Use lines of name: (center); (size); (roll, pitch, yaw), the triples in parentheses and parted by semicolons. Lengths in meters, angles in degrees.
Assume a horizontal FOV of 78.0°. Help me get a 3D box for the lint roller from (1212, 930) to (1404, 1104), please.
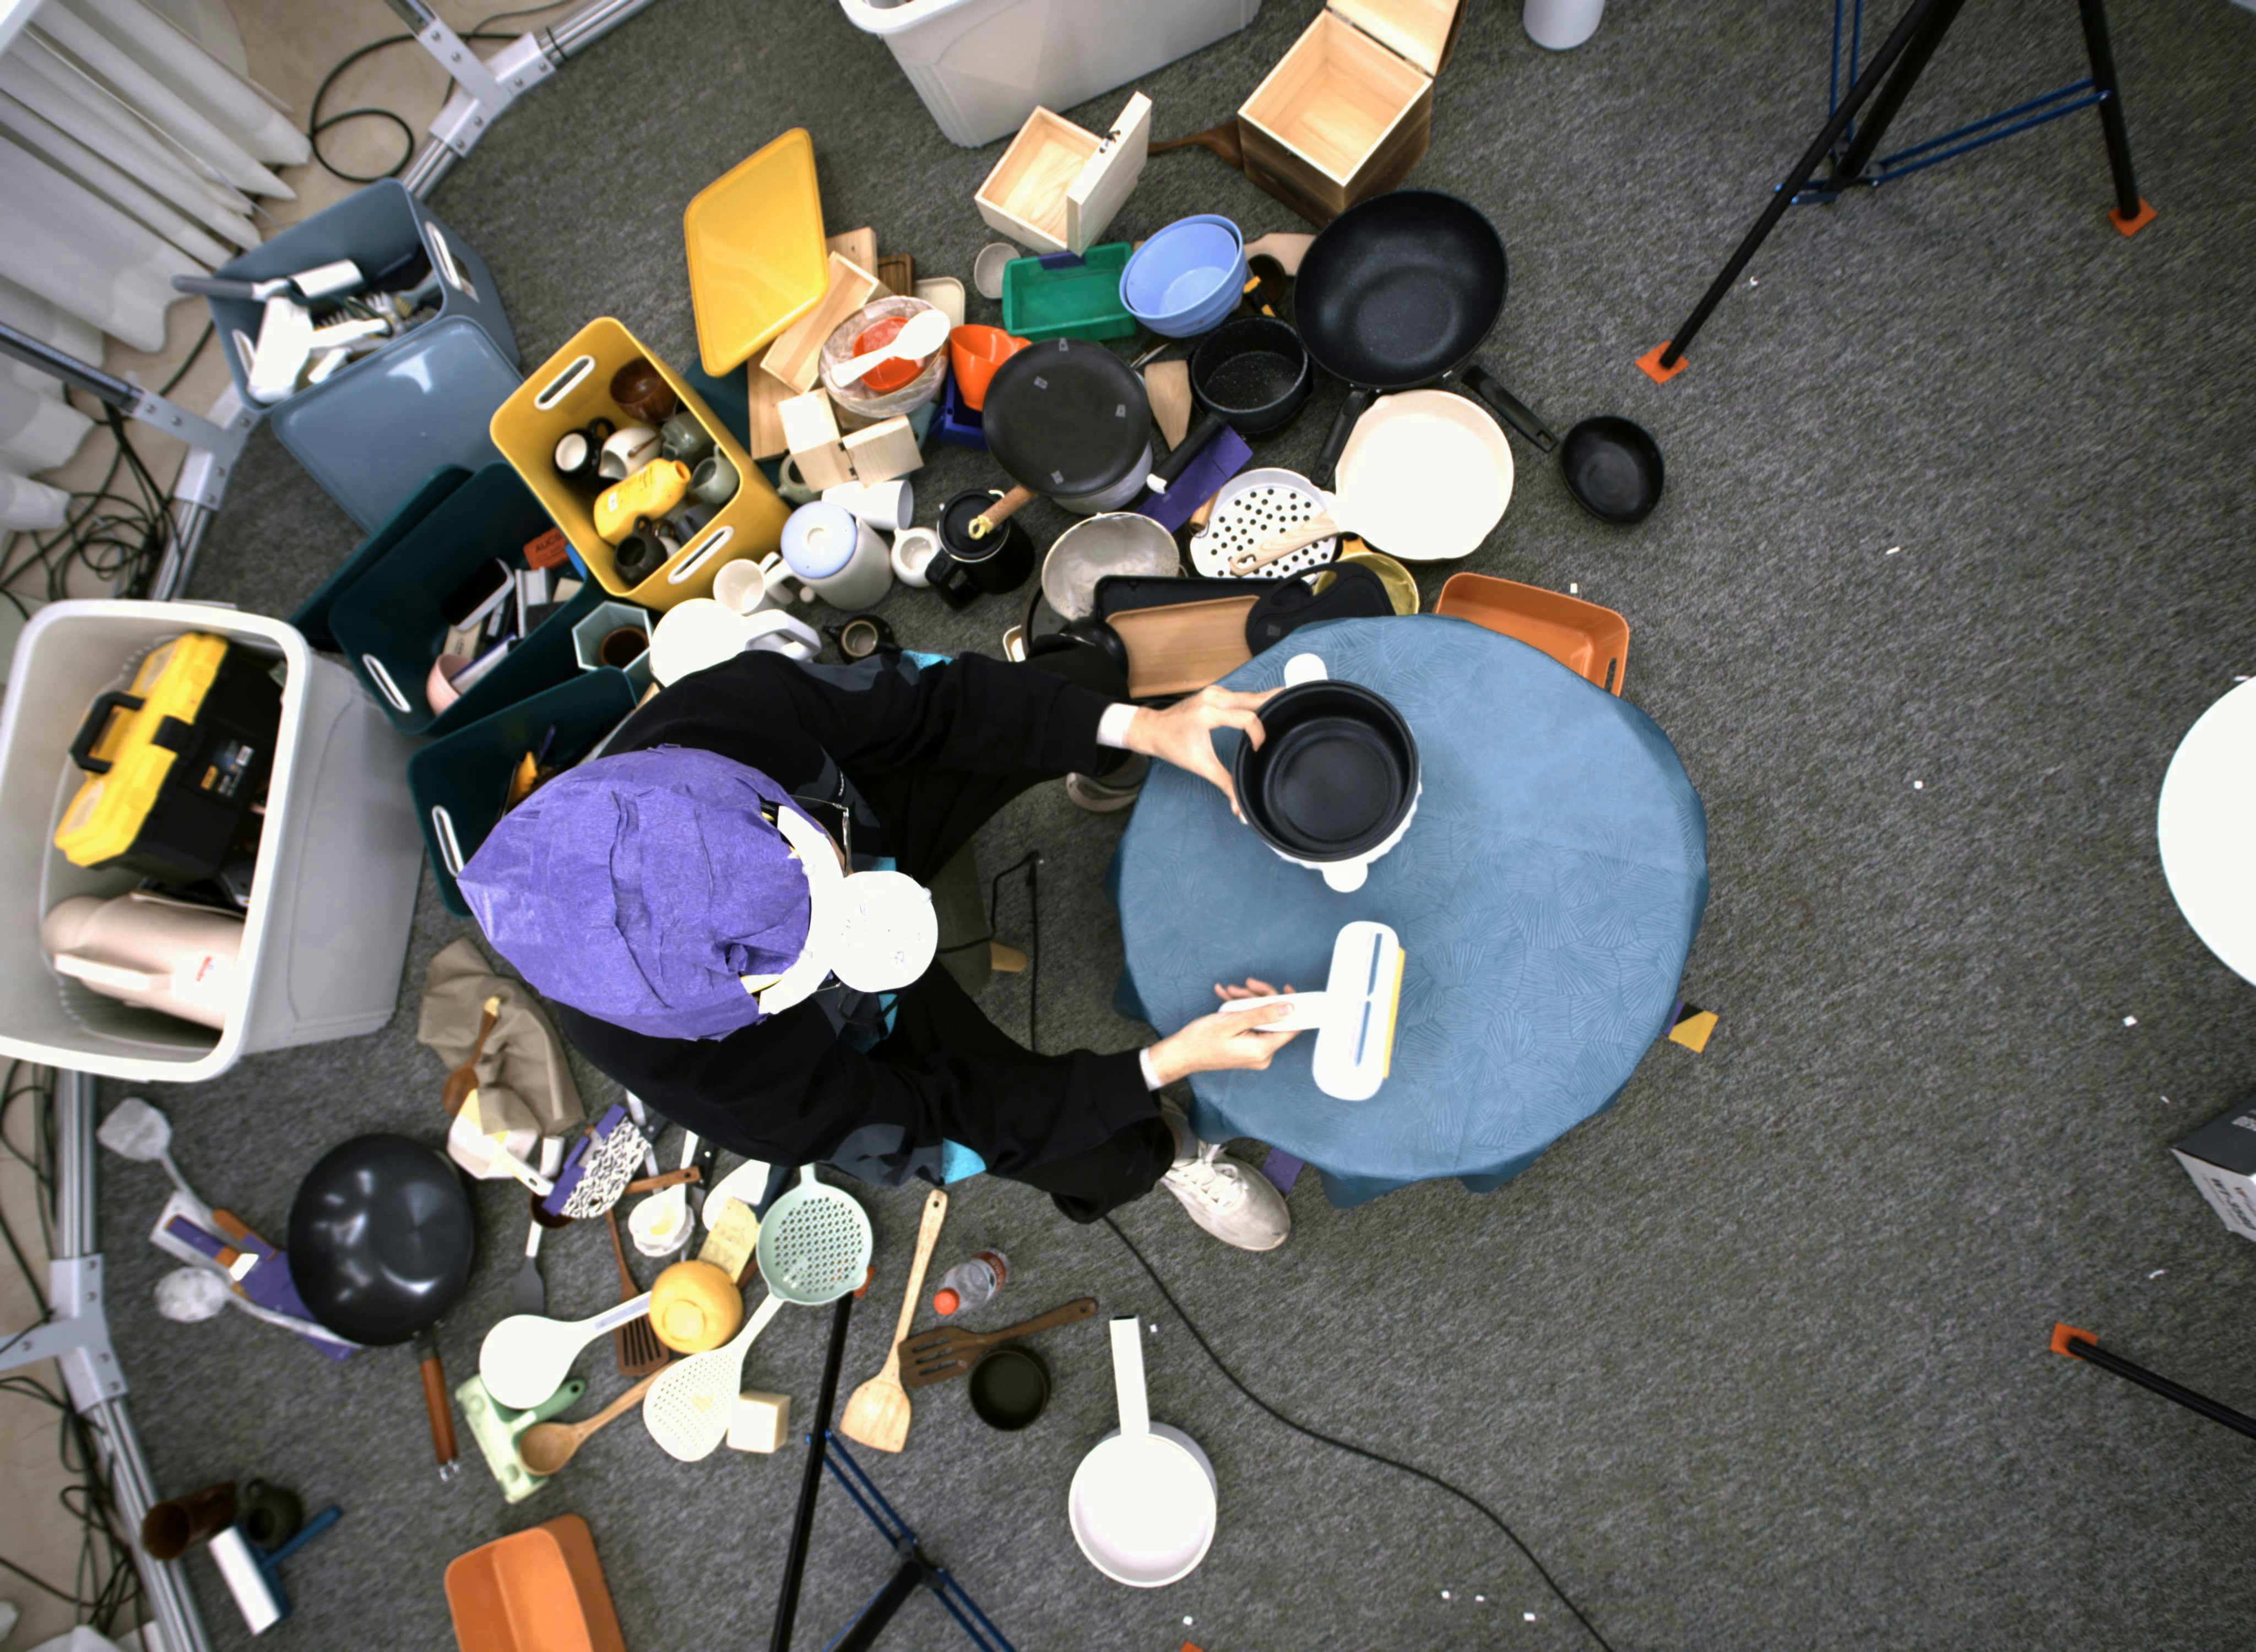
lint roller: (0.169, 0.186, 1.379); (0.193, 0.075, 0.188); (2, 52, 26)

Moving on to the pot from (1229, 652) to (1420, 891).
pot: (0.196, -0.042, 1.386); (0.191, 0.143, 0.238); (-11, 78, 10)
